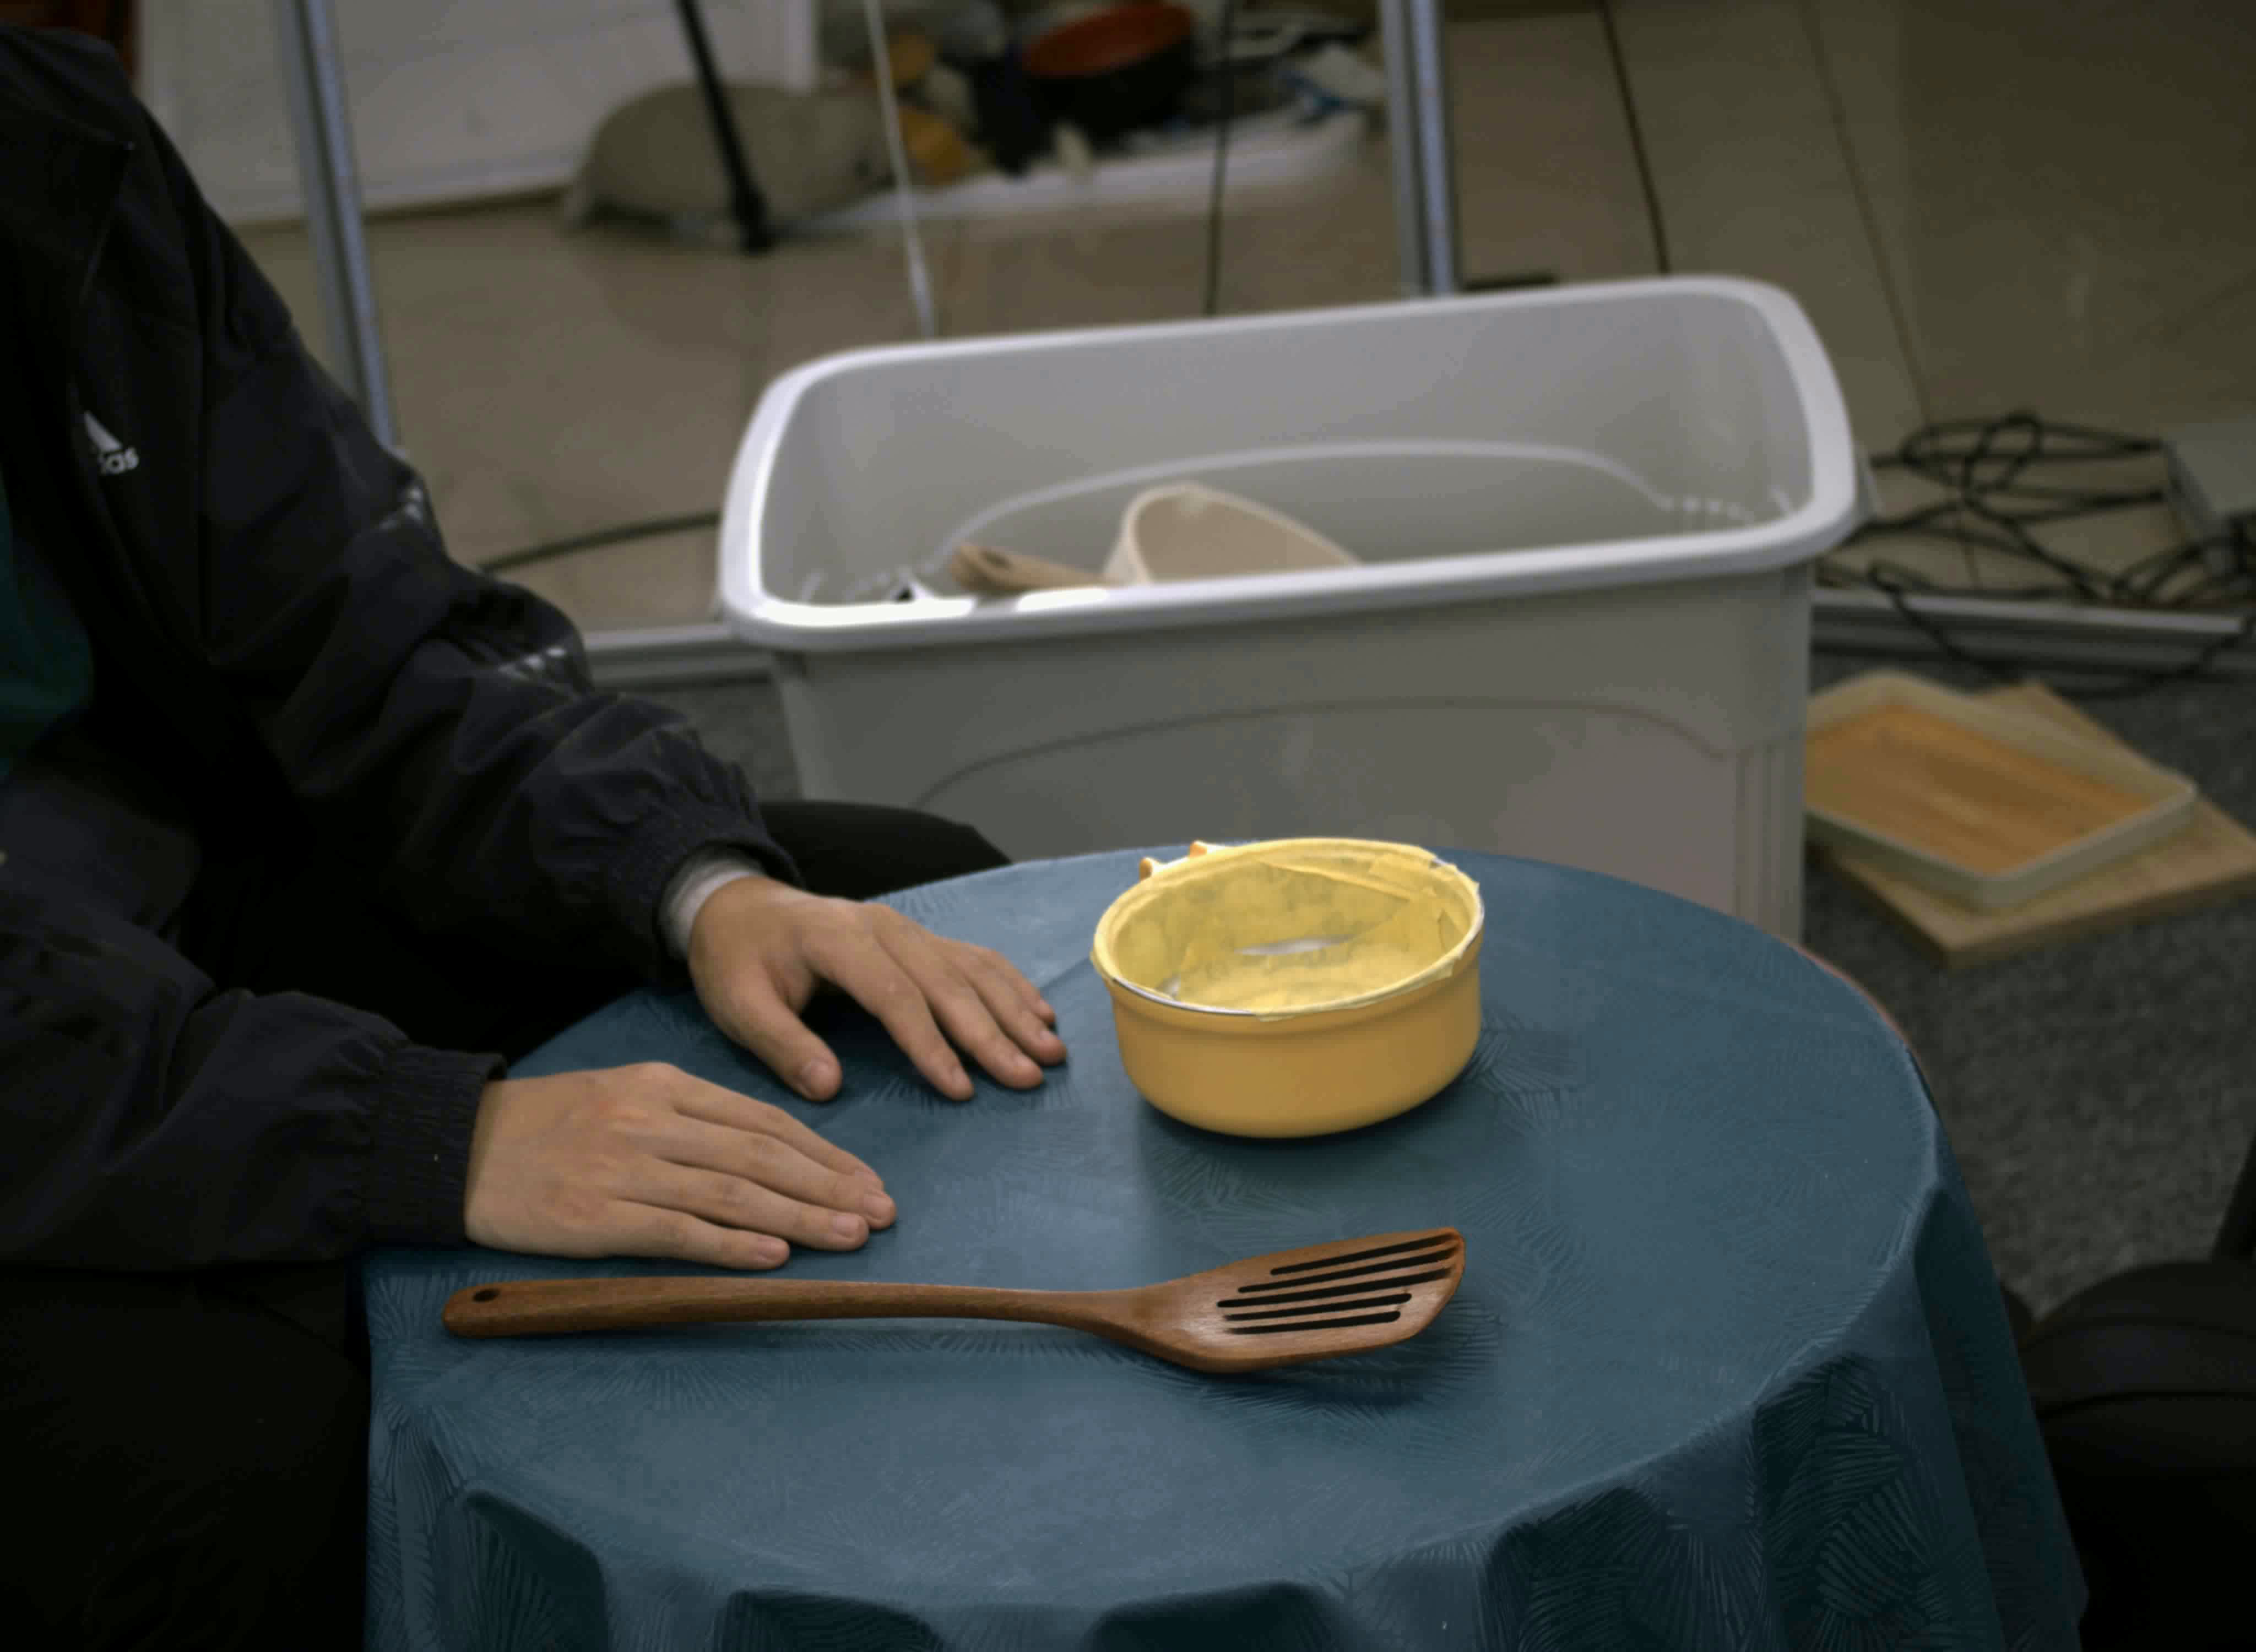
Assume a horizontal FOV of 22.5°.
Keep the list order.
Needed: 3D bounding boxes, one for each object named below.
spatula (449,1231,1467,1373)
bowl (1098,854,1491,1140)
[{"bbox_3d":[-0.067,0.174,2.065,0.386,0.024,0.084,-1,25,16],"label":"spatula"},{"bbox_3d":[0.060,0.064,2.219,0.152,0.075,0.177,-19,28,-28],"label":"bowl"}]
